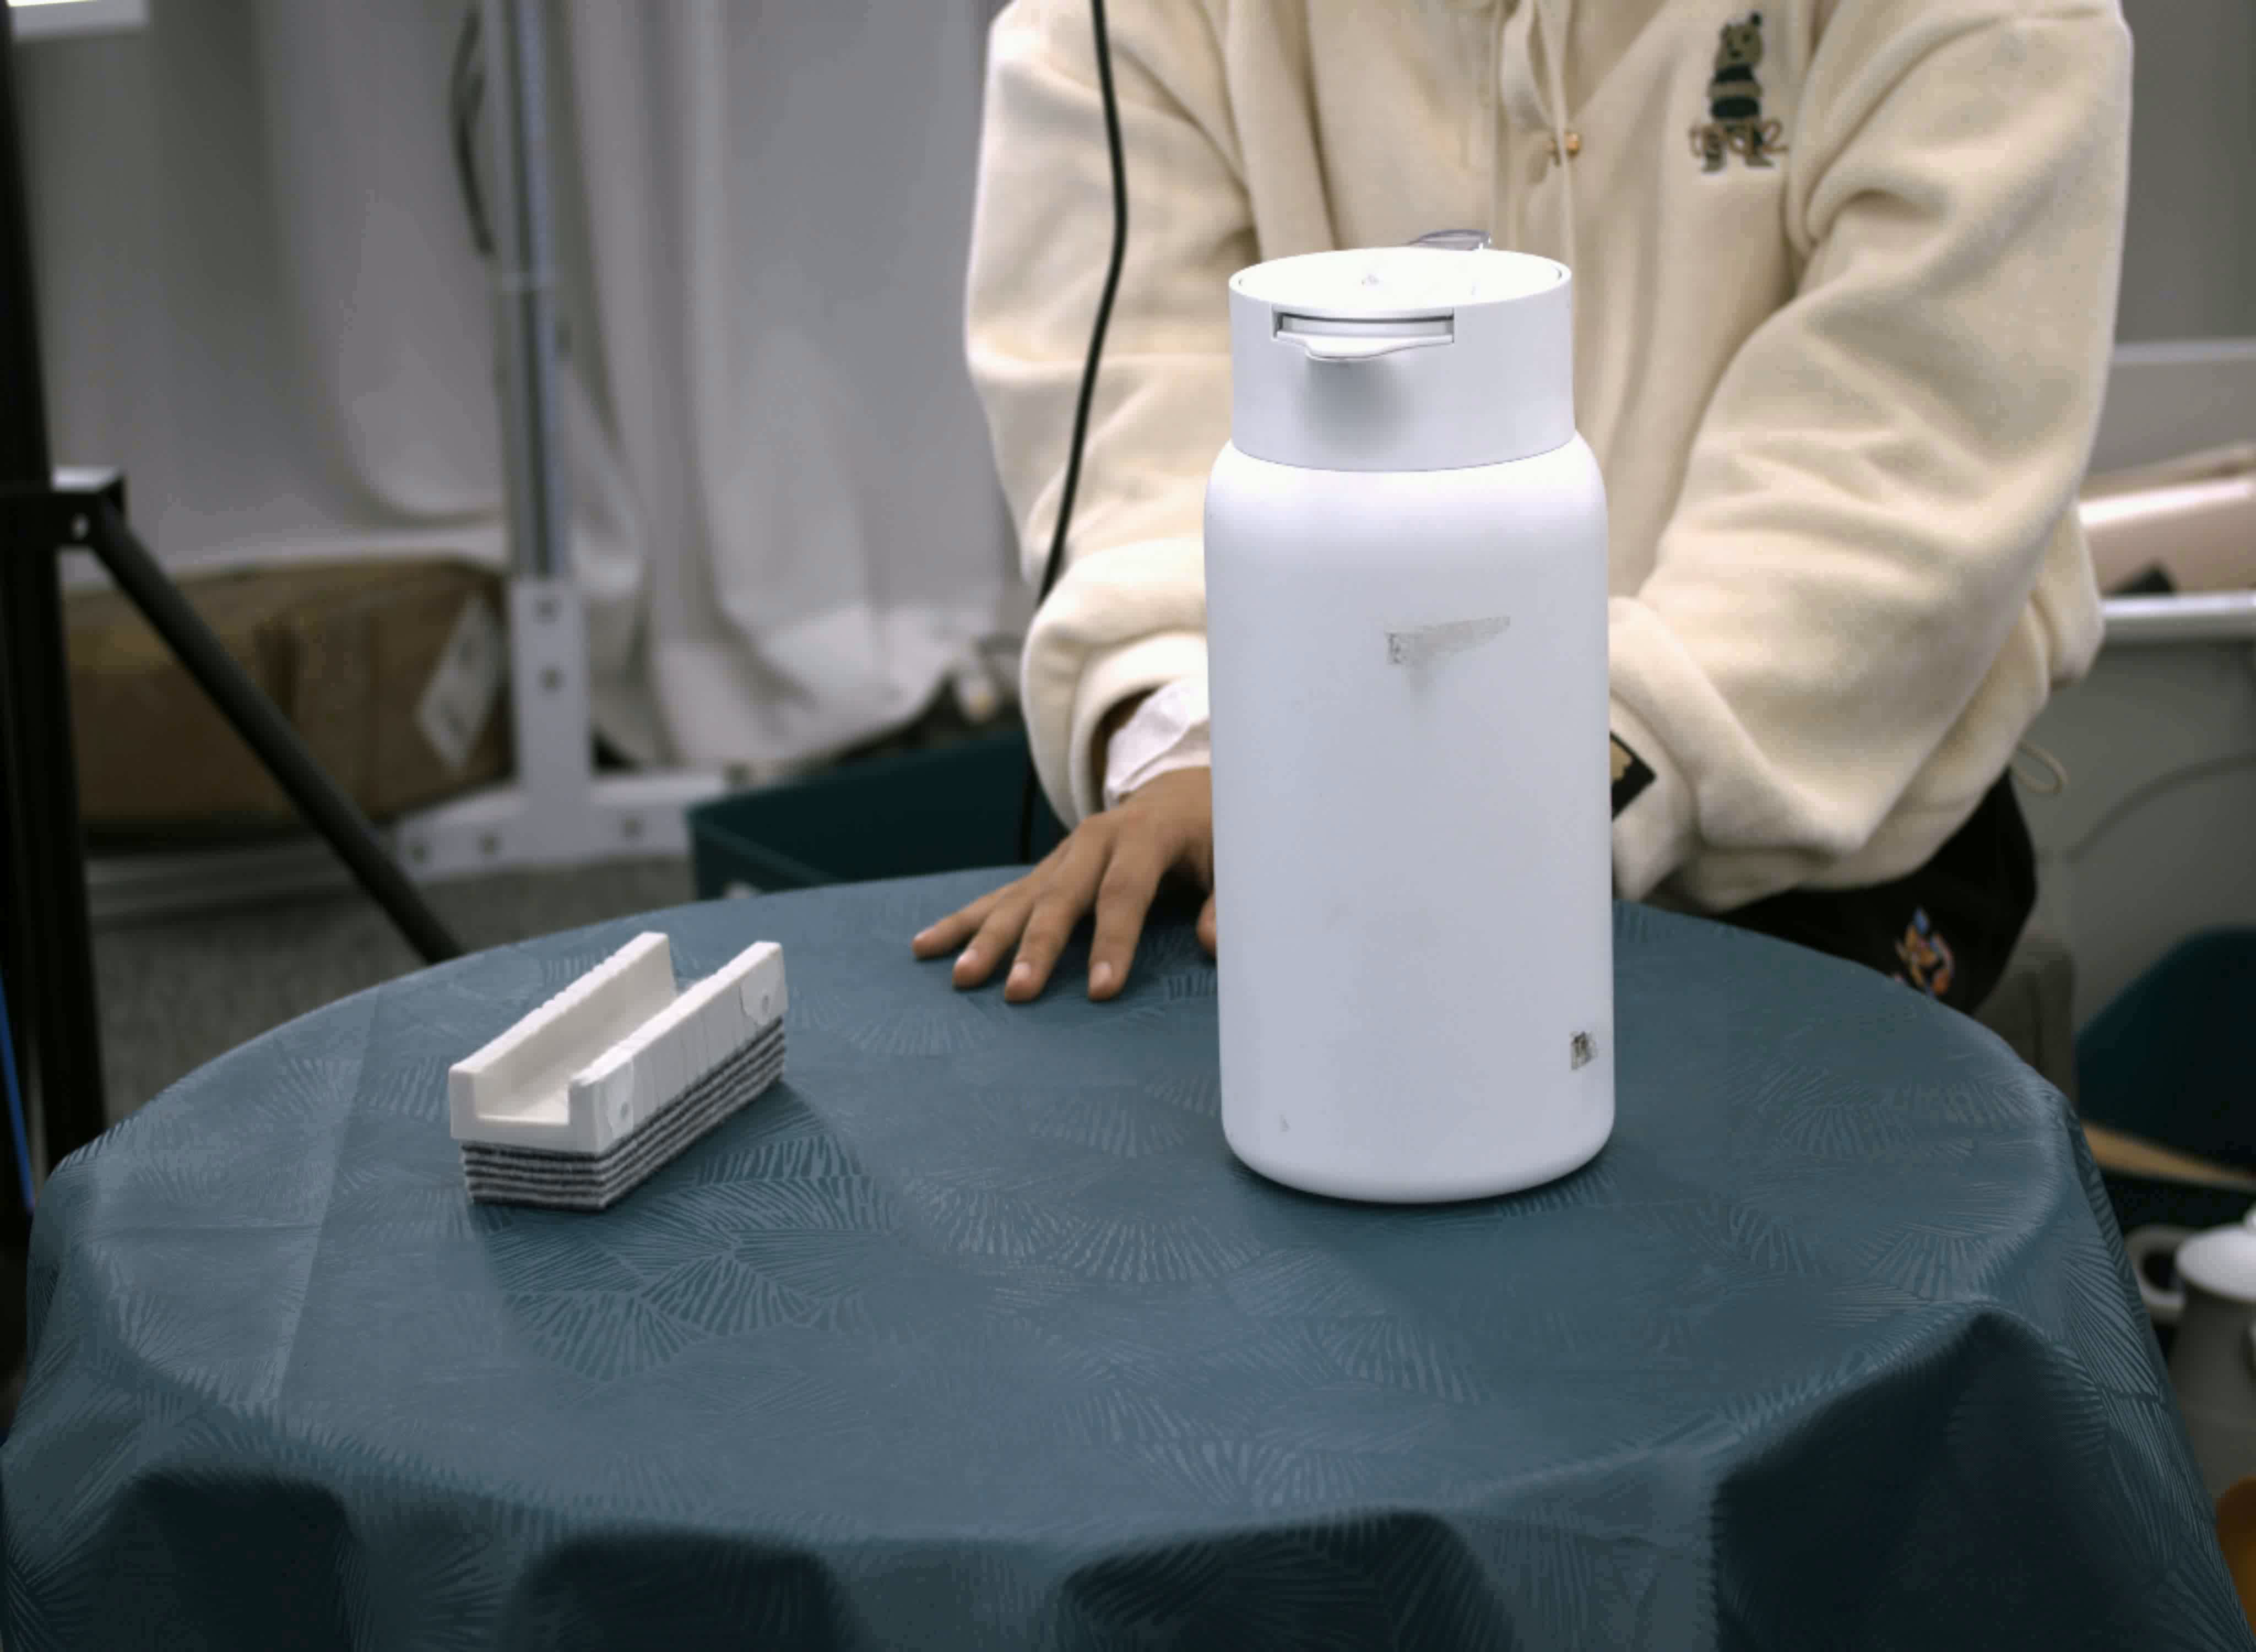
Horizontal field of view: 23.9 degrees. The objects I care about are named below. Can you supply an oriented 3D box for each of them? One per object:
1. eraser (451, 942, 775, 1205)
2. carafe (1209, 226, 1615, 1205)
[{"bbox_3d":[-0.154,0.074,1.621,0.050,0.046,0.133,-1,15,20],"label":"eraser"},{"bbox_3d":[0.088,-0.036,1.564,0.125,0.269,0.171,1,15,19],"label":"carafe"}]
